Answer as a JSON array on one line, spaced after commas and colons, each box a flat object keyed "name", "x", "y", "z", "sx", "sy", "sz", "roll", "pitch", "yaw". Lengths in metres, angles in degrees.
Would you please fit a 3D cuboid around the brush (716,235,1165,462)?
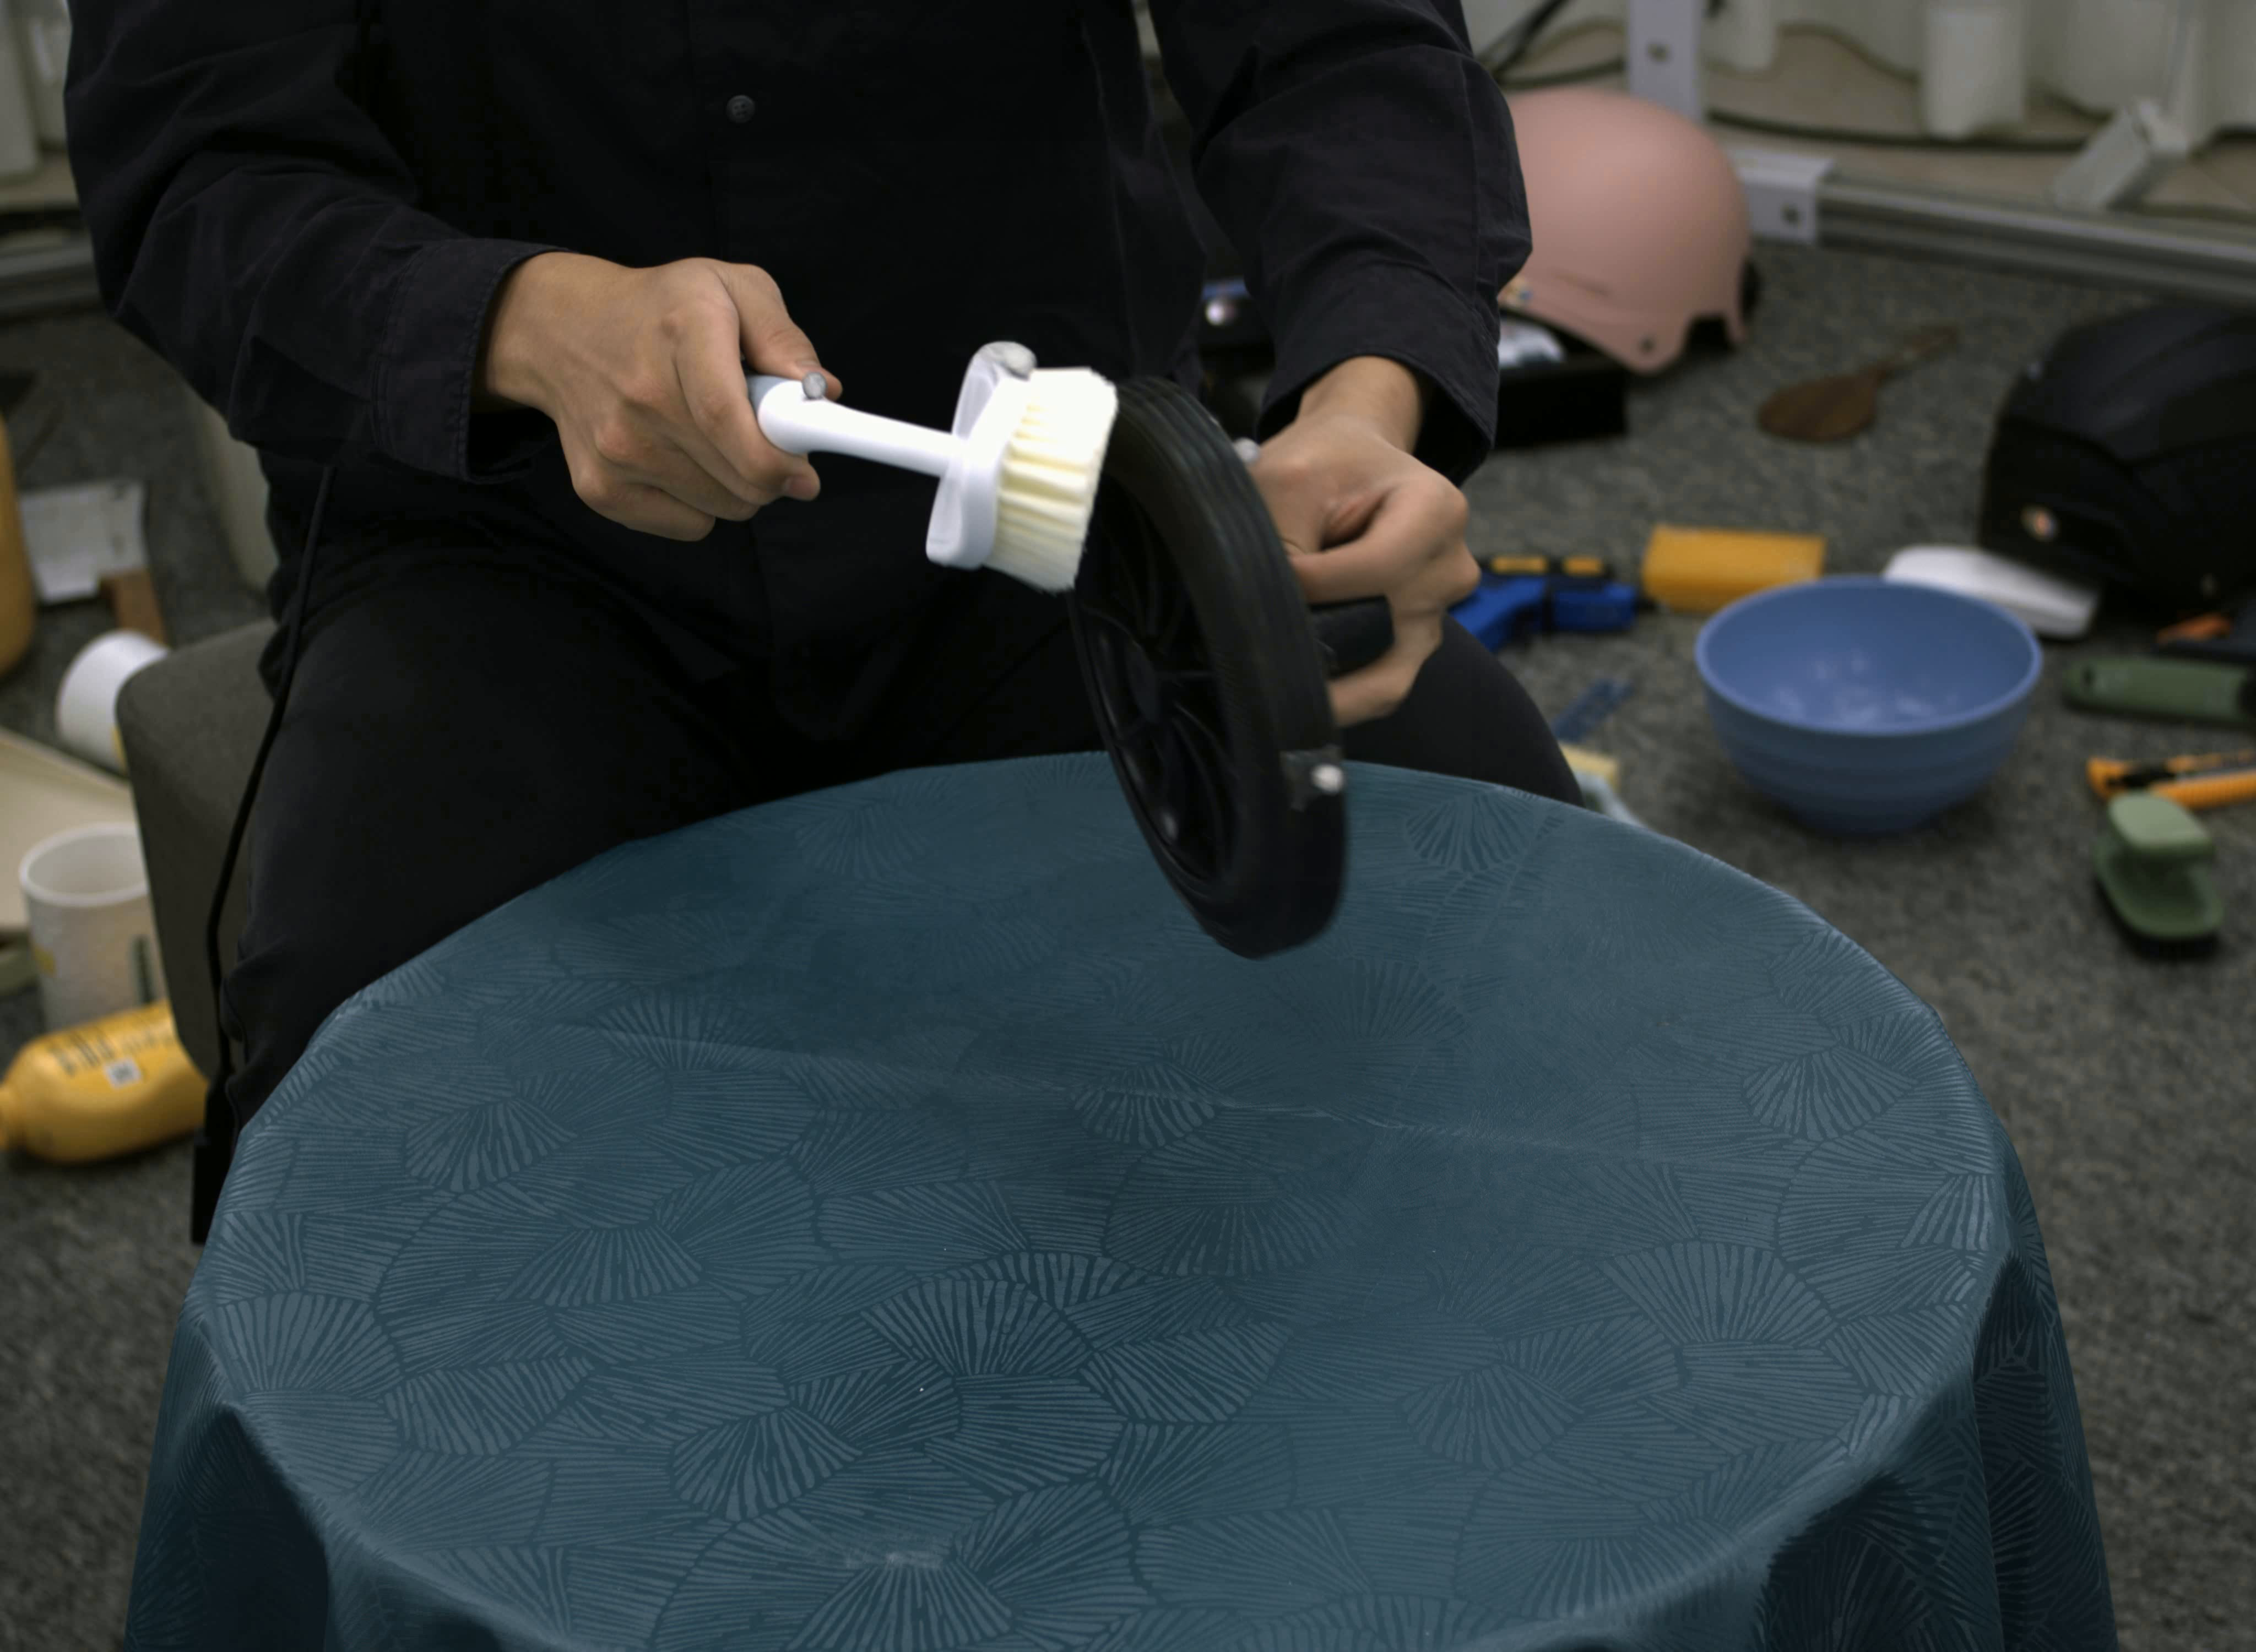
[{"name": "brush", "x": -0.047, "y": -0.167, "z": 1.858, "sx": 0.083, "sy": 0.084, "sz": 0.325, "roll": -43, "pitch": 19, "yaw": -10}]

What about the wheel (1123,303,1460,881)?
[{"name": "wheel", "x": 0.065, "y": -0.081, "z": 1.812, "sx": 0.079, "sy": 0.184, "sz": 0.192, "roll": -18, "pitch": 58, "yaw": -17}]
